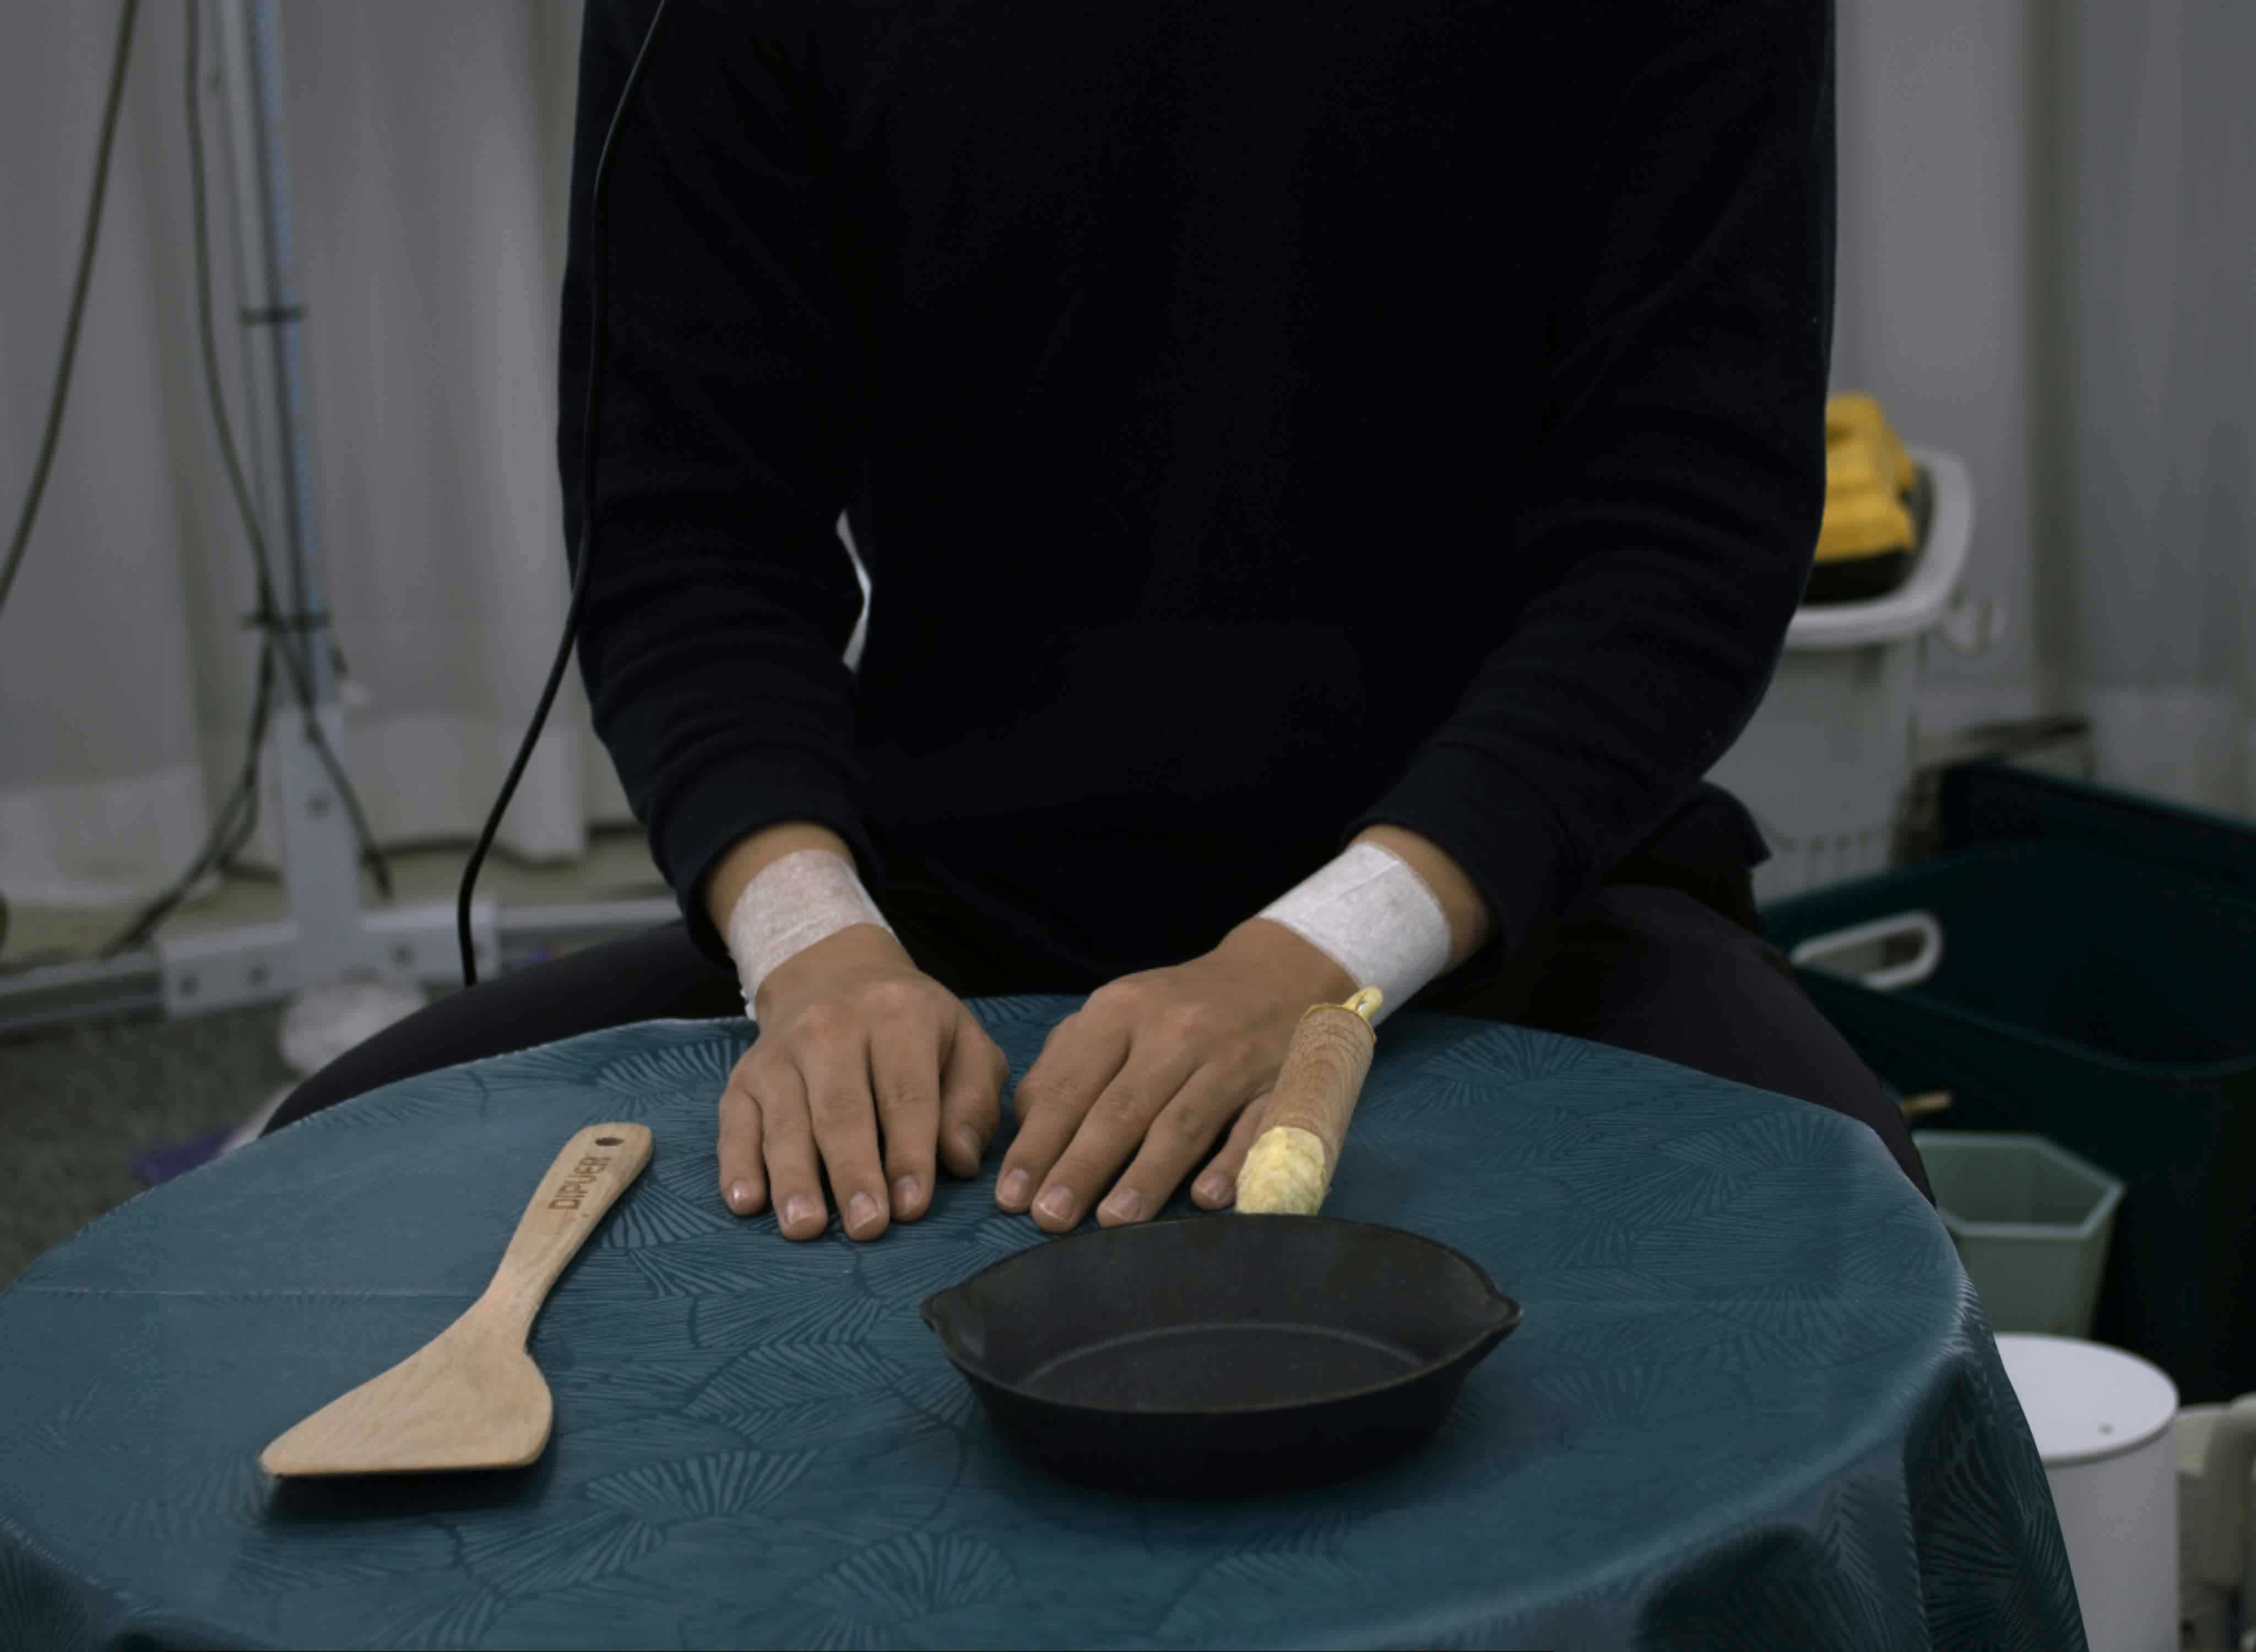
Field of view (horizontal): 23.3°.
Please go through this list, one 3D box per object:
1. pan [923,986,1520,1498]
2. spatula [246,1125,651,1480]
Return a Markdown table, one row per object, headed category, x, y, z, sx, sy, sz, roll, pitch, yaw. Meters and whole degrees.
| category | x | y | z | sx | sy | sz | roll | pitch | yaw |
| --- | --- | --- | --- | --- | --- | --- | --- | --- | --- |
| pan | 0.043 | 0.118 | 1.598 | 0.169 | 0.049 | 0.326 | 0 | 17 | 13 |
| spatula | -0.183 | 0.139 | 1.630 | 0.080 | 0.016 | 0.329 | 0 | 15 | 7 |
